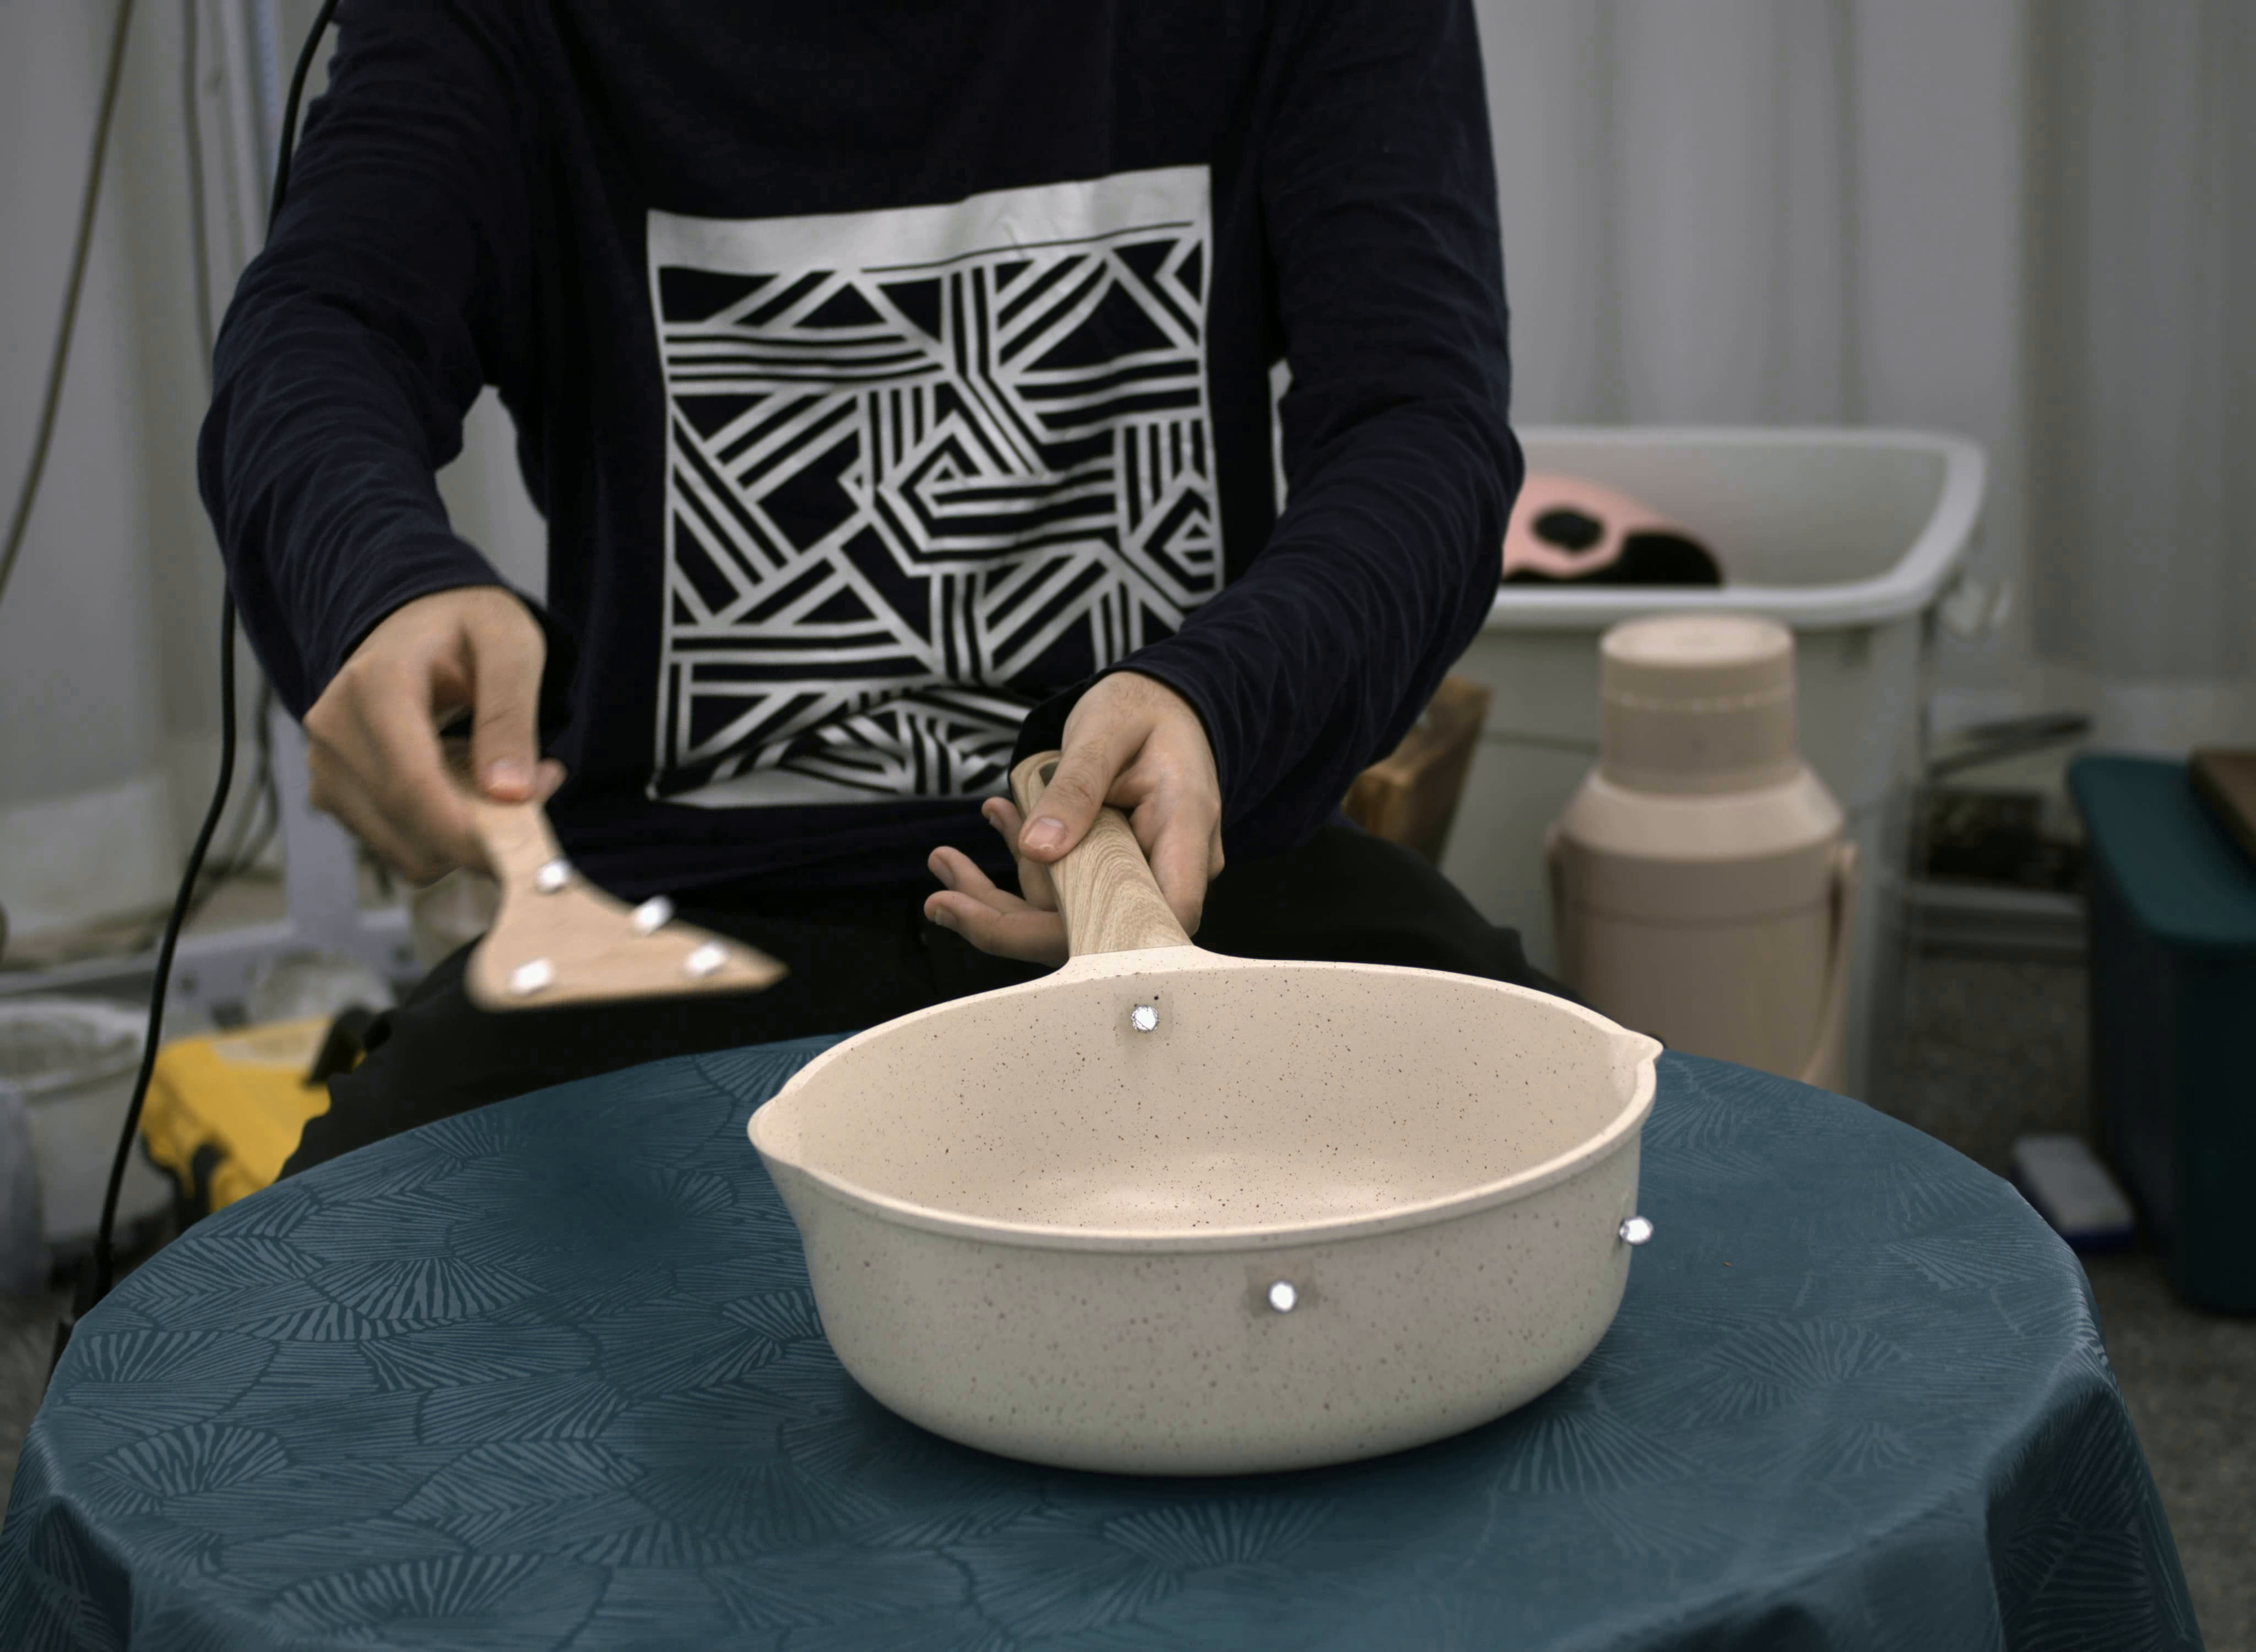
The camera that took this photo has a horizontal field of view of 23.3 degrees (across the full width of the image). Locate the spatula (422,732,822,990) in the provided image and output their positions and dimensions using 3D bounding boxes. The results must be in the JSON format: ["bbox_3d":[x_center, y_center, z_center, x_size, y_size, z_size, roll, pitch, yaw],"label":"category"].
[{"bbox_3d":[-0.162,0.007,1.584,0.079,0.016,0.330,-5,15,-17],"label":"spatula"}]

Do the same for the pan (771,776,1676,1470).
[{"bbox_3d":[0.015,0.083,1.647,0.262,0.101,0.438,-6,15,-8],"label":"pan"}]
